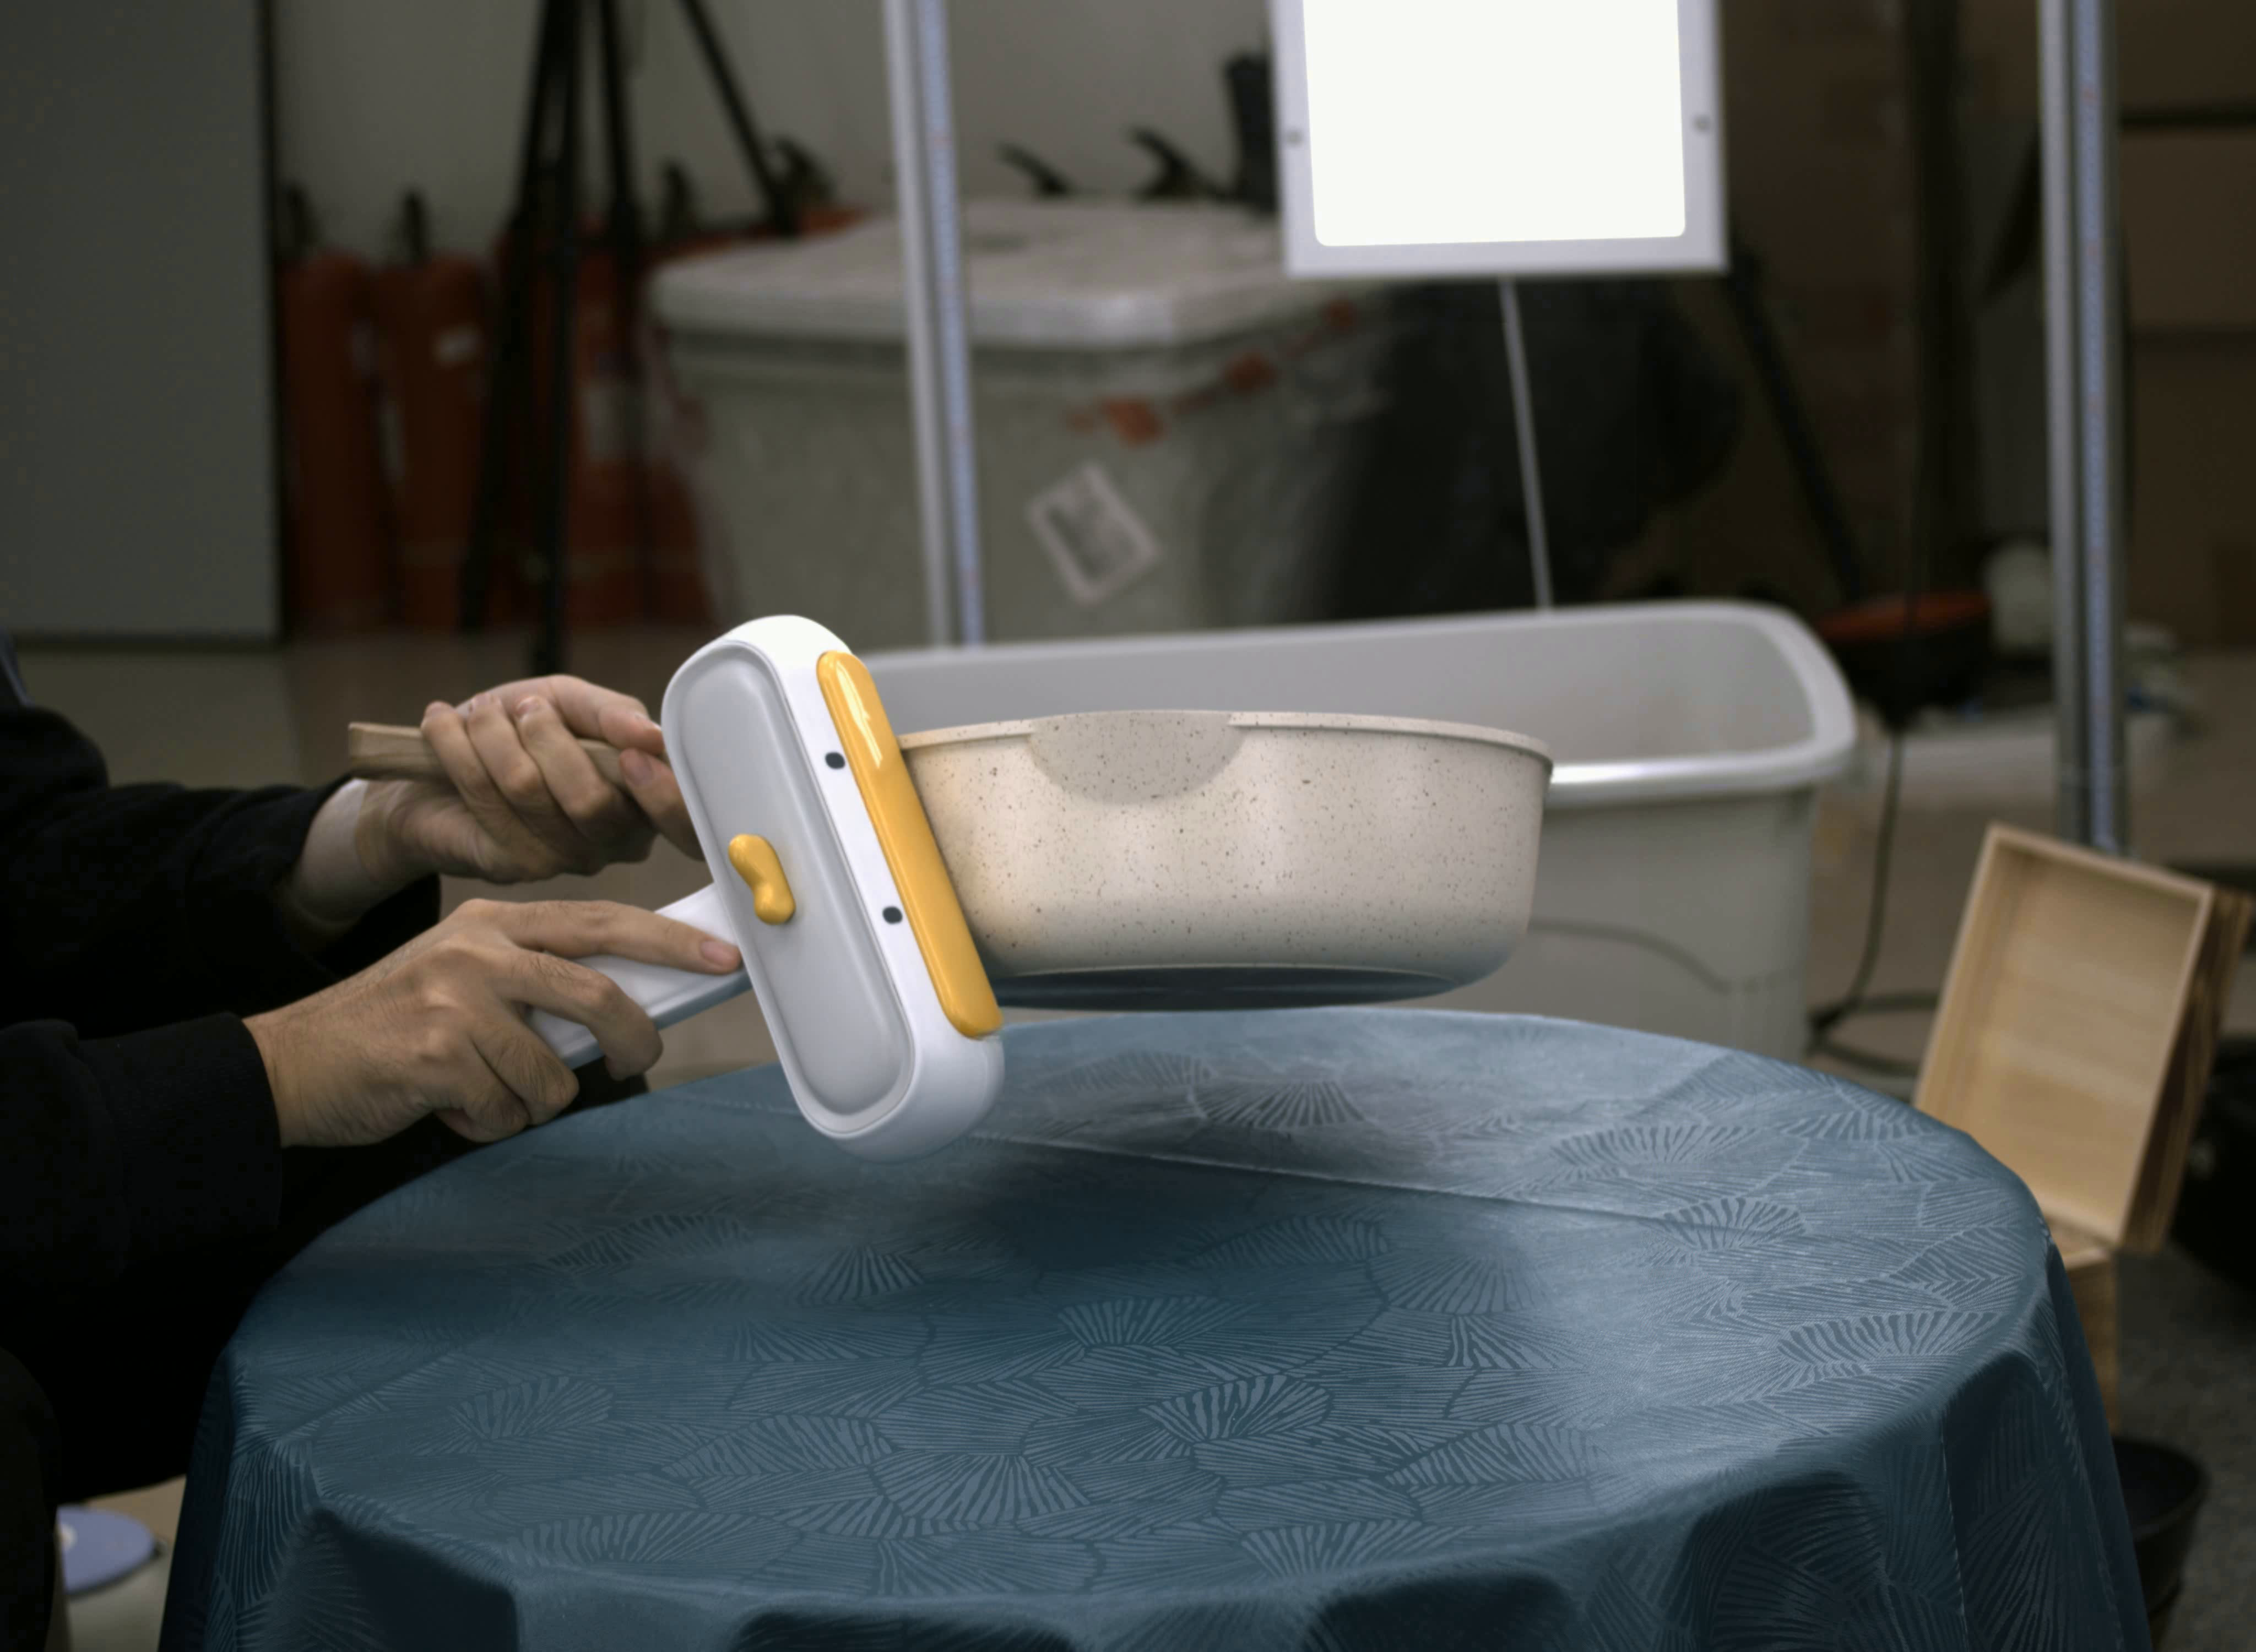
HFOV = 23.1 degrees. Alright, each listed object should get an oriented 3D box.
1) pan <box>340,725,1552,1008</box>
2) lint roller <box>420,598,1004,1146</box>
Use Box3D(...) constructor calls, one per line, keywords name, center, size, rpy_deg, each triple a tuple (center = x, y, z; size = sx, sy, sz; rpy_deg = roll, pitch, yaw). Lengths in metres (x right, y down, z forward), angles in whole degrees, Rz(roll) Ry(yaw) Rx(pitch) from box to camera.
Box3D(name="pan", center=(-0.067, 0.012, 1.937), size=(0.438, 0.102, 0.261), rpy_deg=(-2, -4, 12))
Box3D(name="lint roller", center=(-0.151, 0.044, 1.858), size=(0.195, 0.194, 0.072), rpy_deg=(-33, -15, 23))
